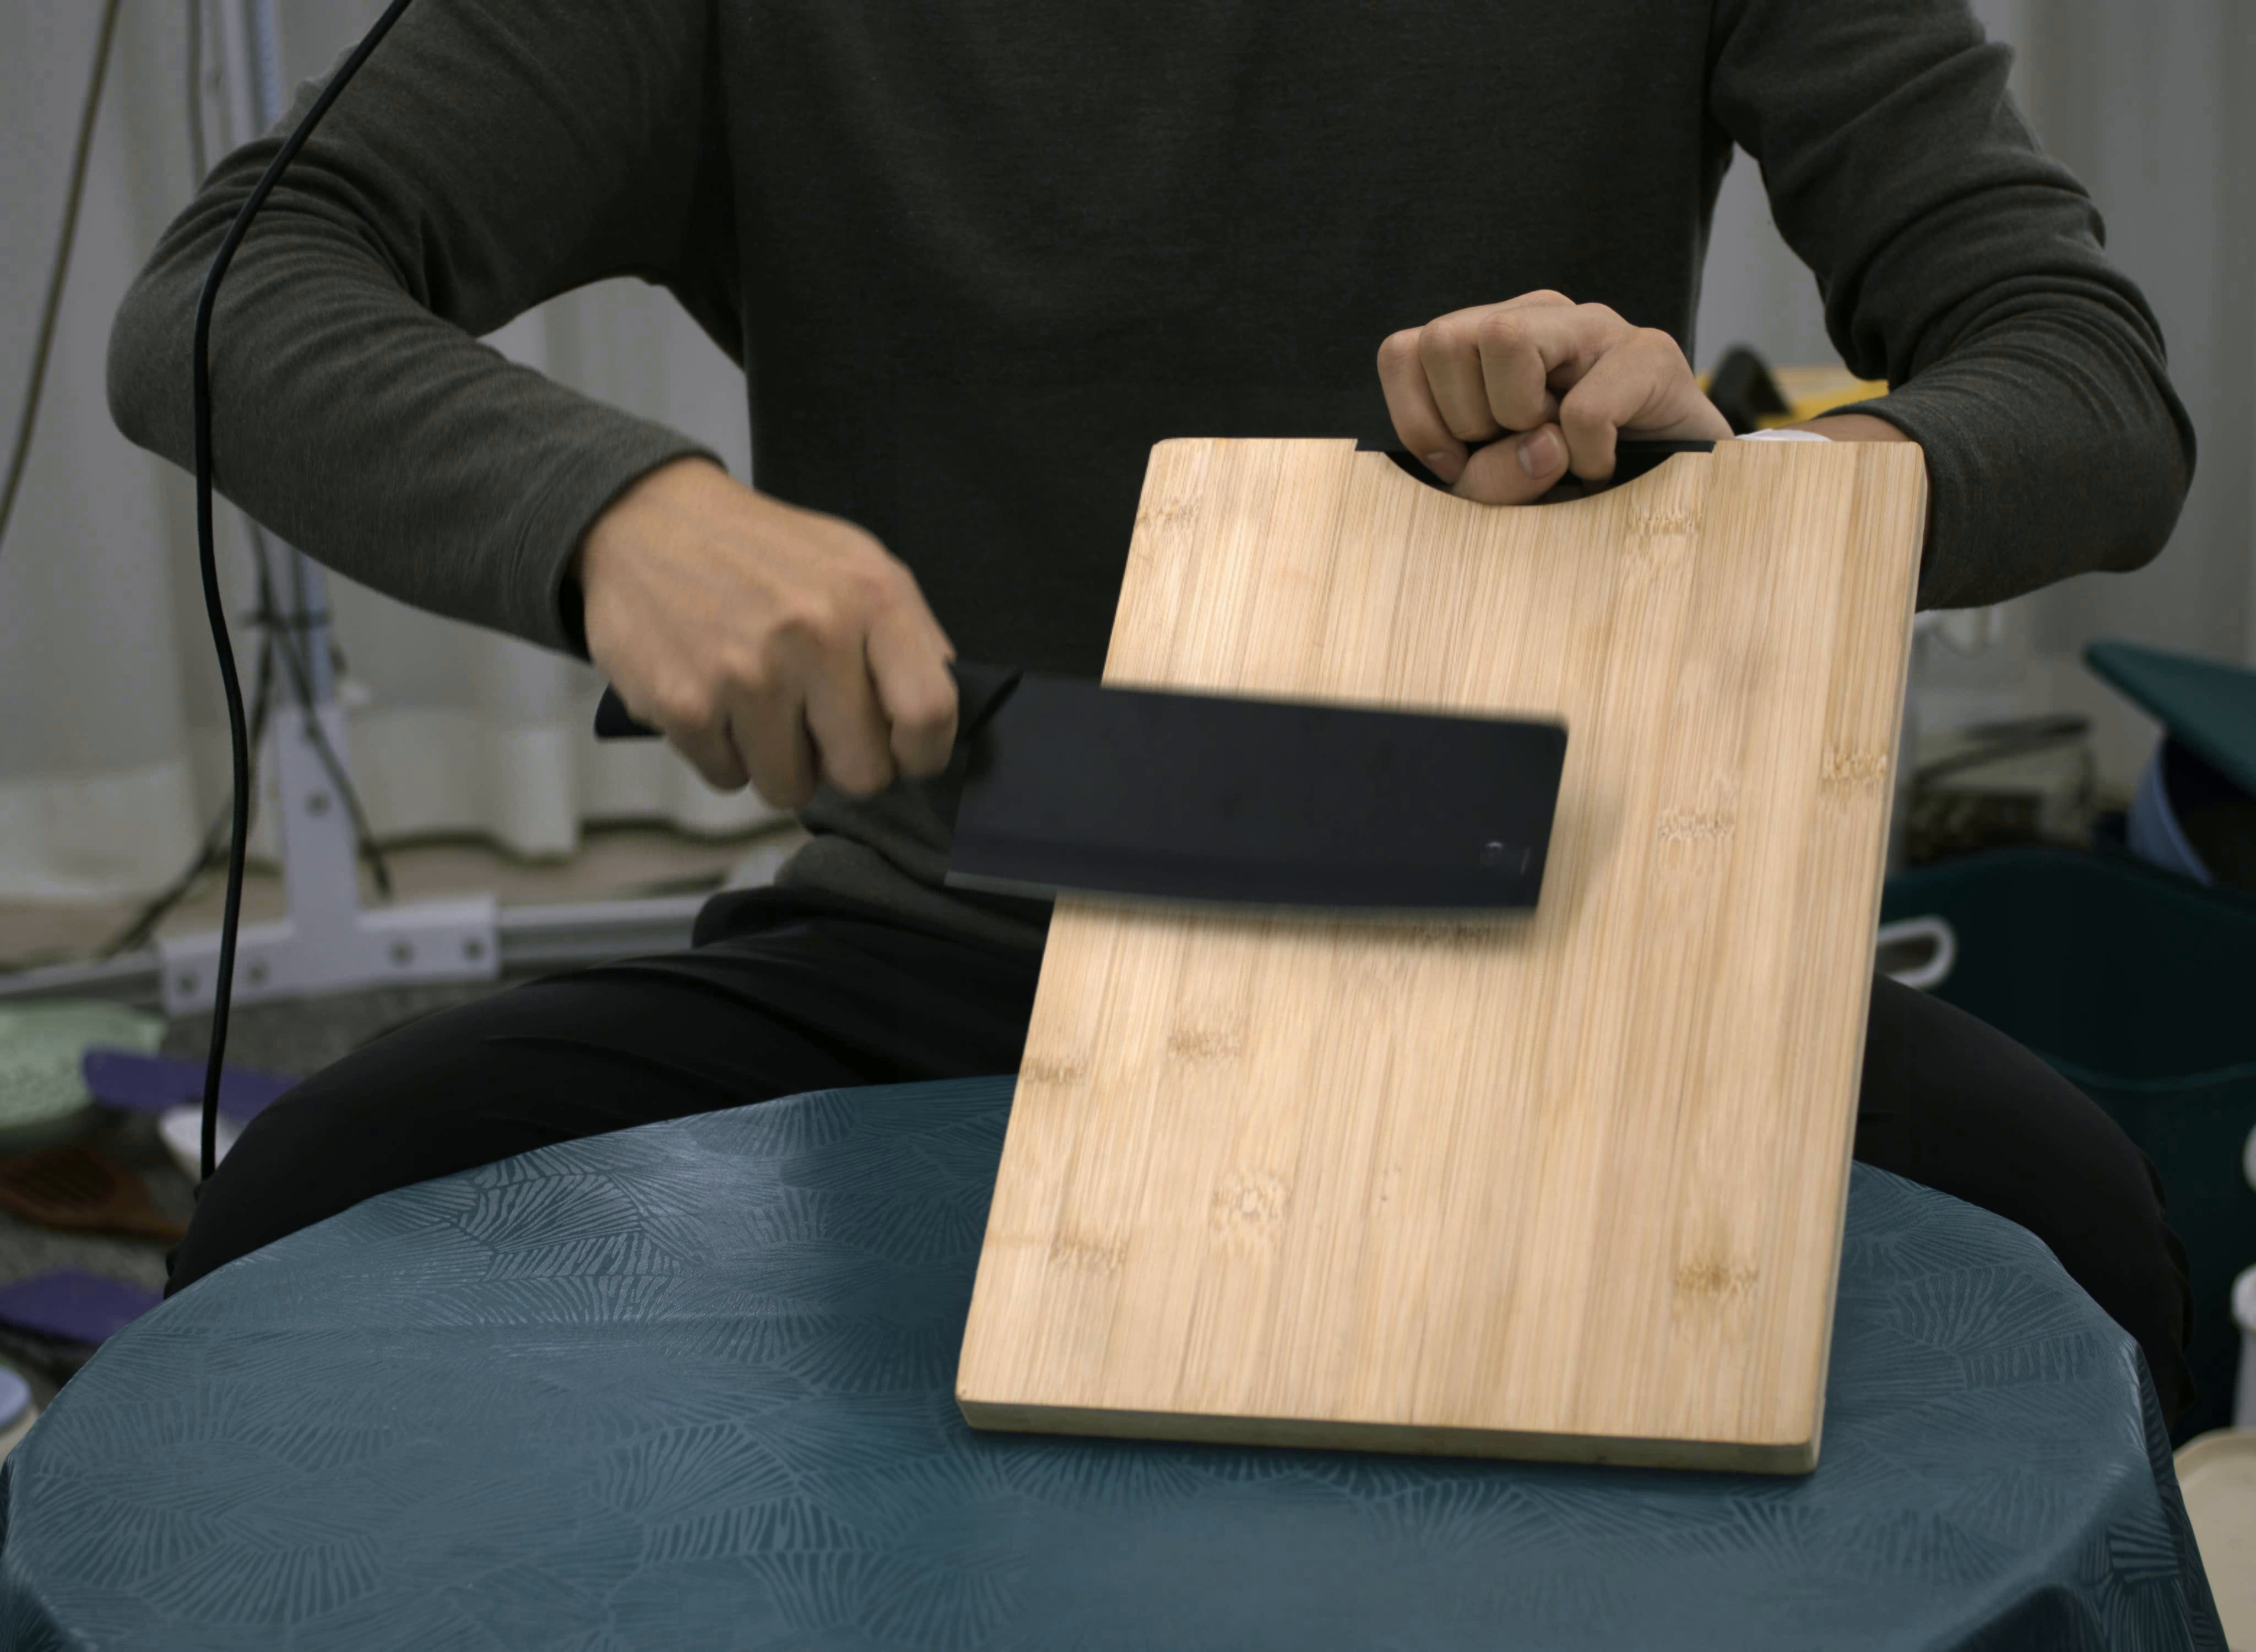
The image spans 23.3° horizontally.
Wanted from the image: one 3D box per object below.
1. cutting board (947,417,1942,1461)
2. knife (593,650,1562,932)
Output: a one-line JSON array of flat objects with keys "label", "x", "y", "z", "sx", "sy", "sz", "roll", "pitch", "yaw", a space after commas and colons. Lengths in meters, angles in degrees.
[{"label": "cutting board", "x": 0.097, "y": 0.023, "z": 1.584, "sx": 0.250, "sy": 0.023, "sz": 0.353, "roll": 1, "pitch": 55, "yaw": 15}, {"label": "knife", "x": -0.020, "y": -0.013, "z": 1.608, "sx": 0.303, "sy": 0.081, "sz": 0.020, "roll": 10, "pitch": -18, "yaw": 21}]
